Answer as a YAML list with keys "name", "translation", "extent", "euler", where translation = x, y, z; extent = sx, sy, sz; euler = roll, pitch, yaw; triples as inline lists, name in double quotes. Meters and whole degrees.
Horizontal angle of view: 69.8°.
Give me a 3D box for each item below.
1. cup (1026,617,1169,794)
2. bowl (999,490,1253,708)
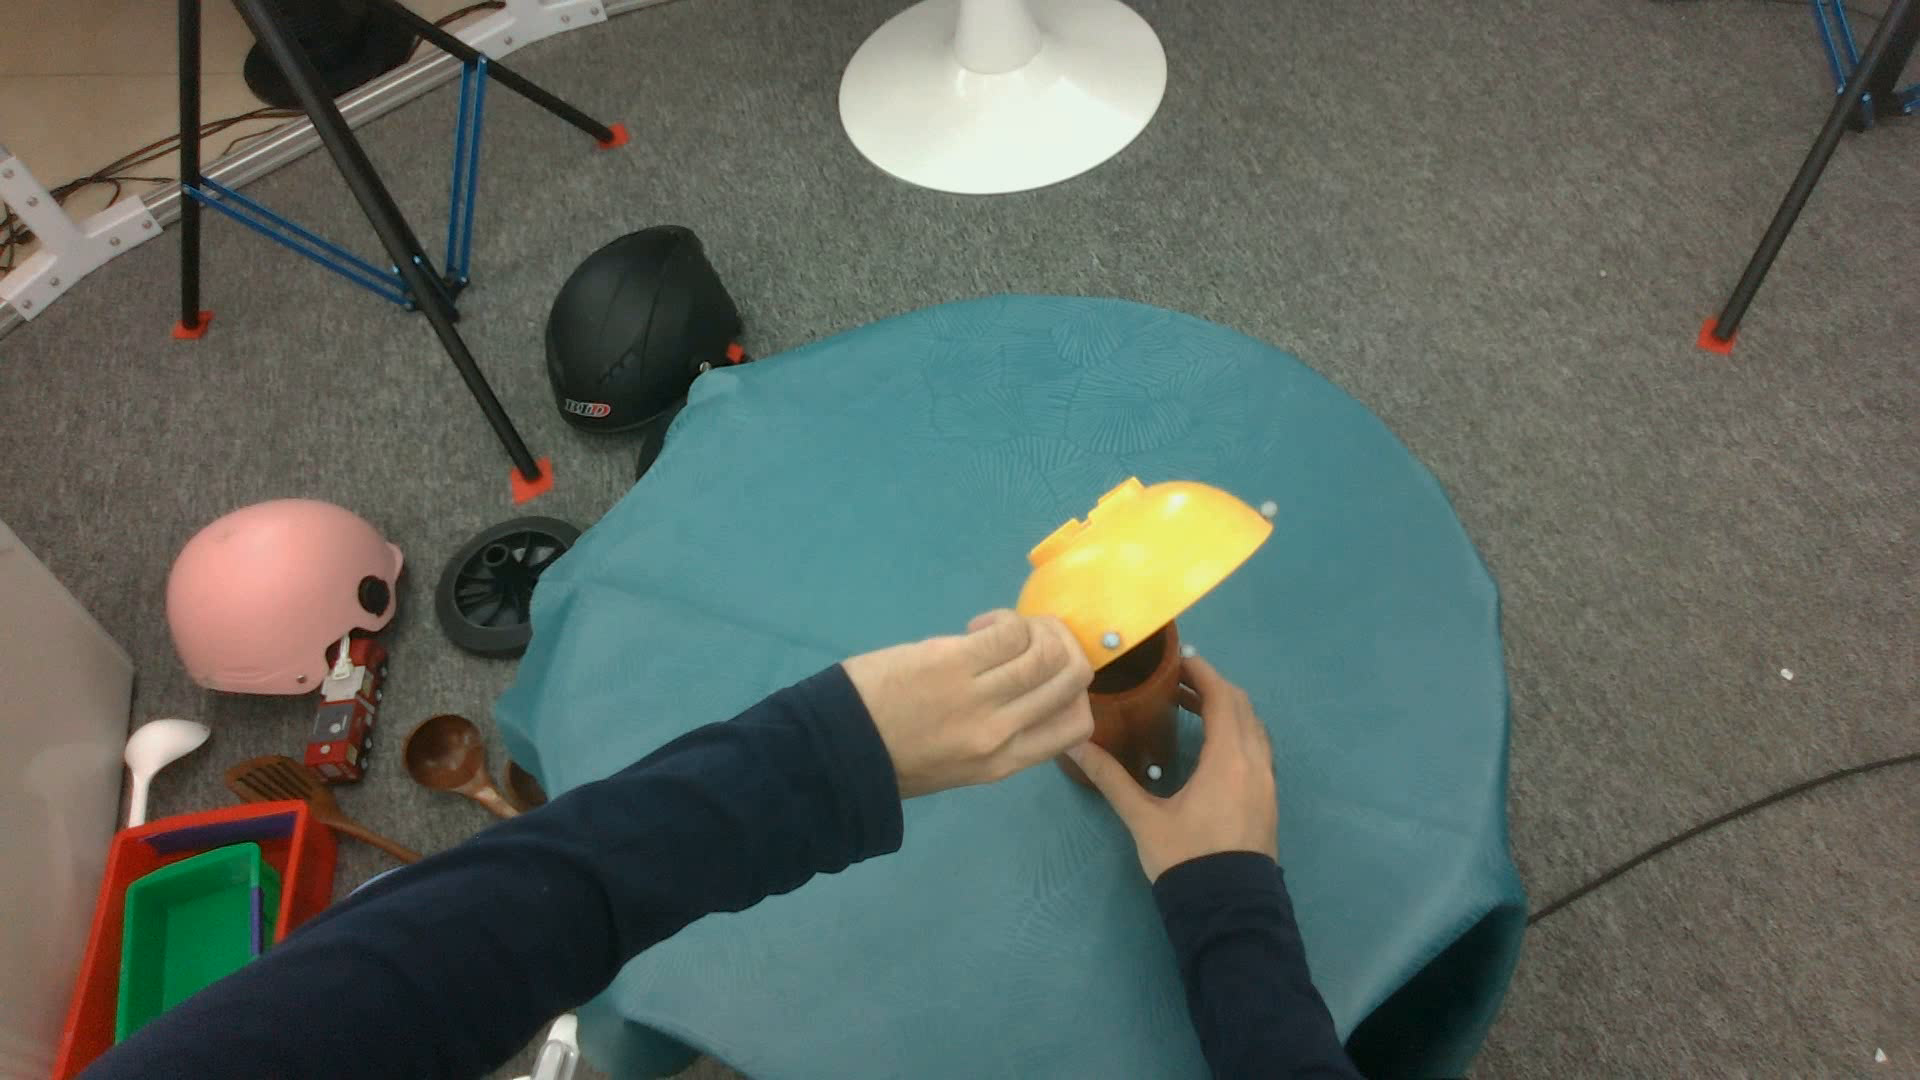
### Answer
- name: "cup"
  translation: [0.079, 0.087, 0.795]
  extent: [0.087, 0.118, 0.088]
  euler: [-6, 54, 8]
- name: "bowl"
  translation: [0.070, 0.018, 0.684]
  extent: [0.146, 0.145, 0.060]
  euler: [-35, 89, -16]
